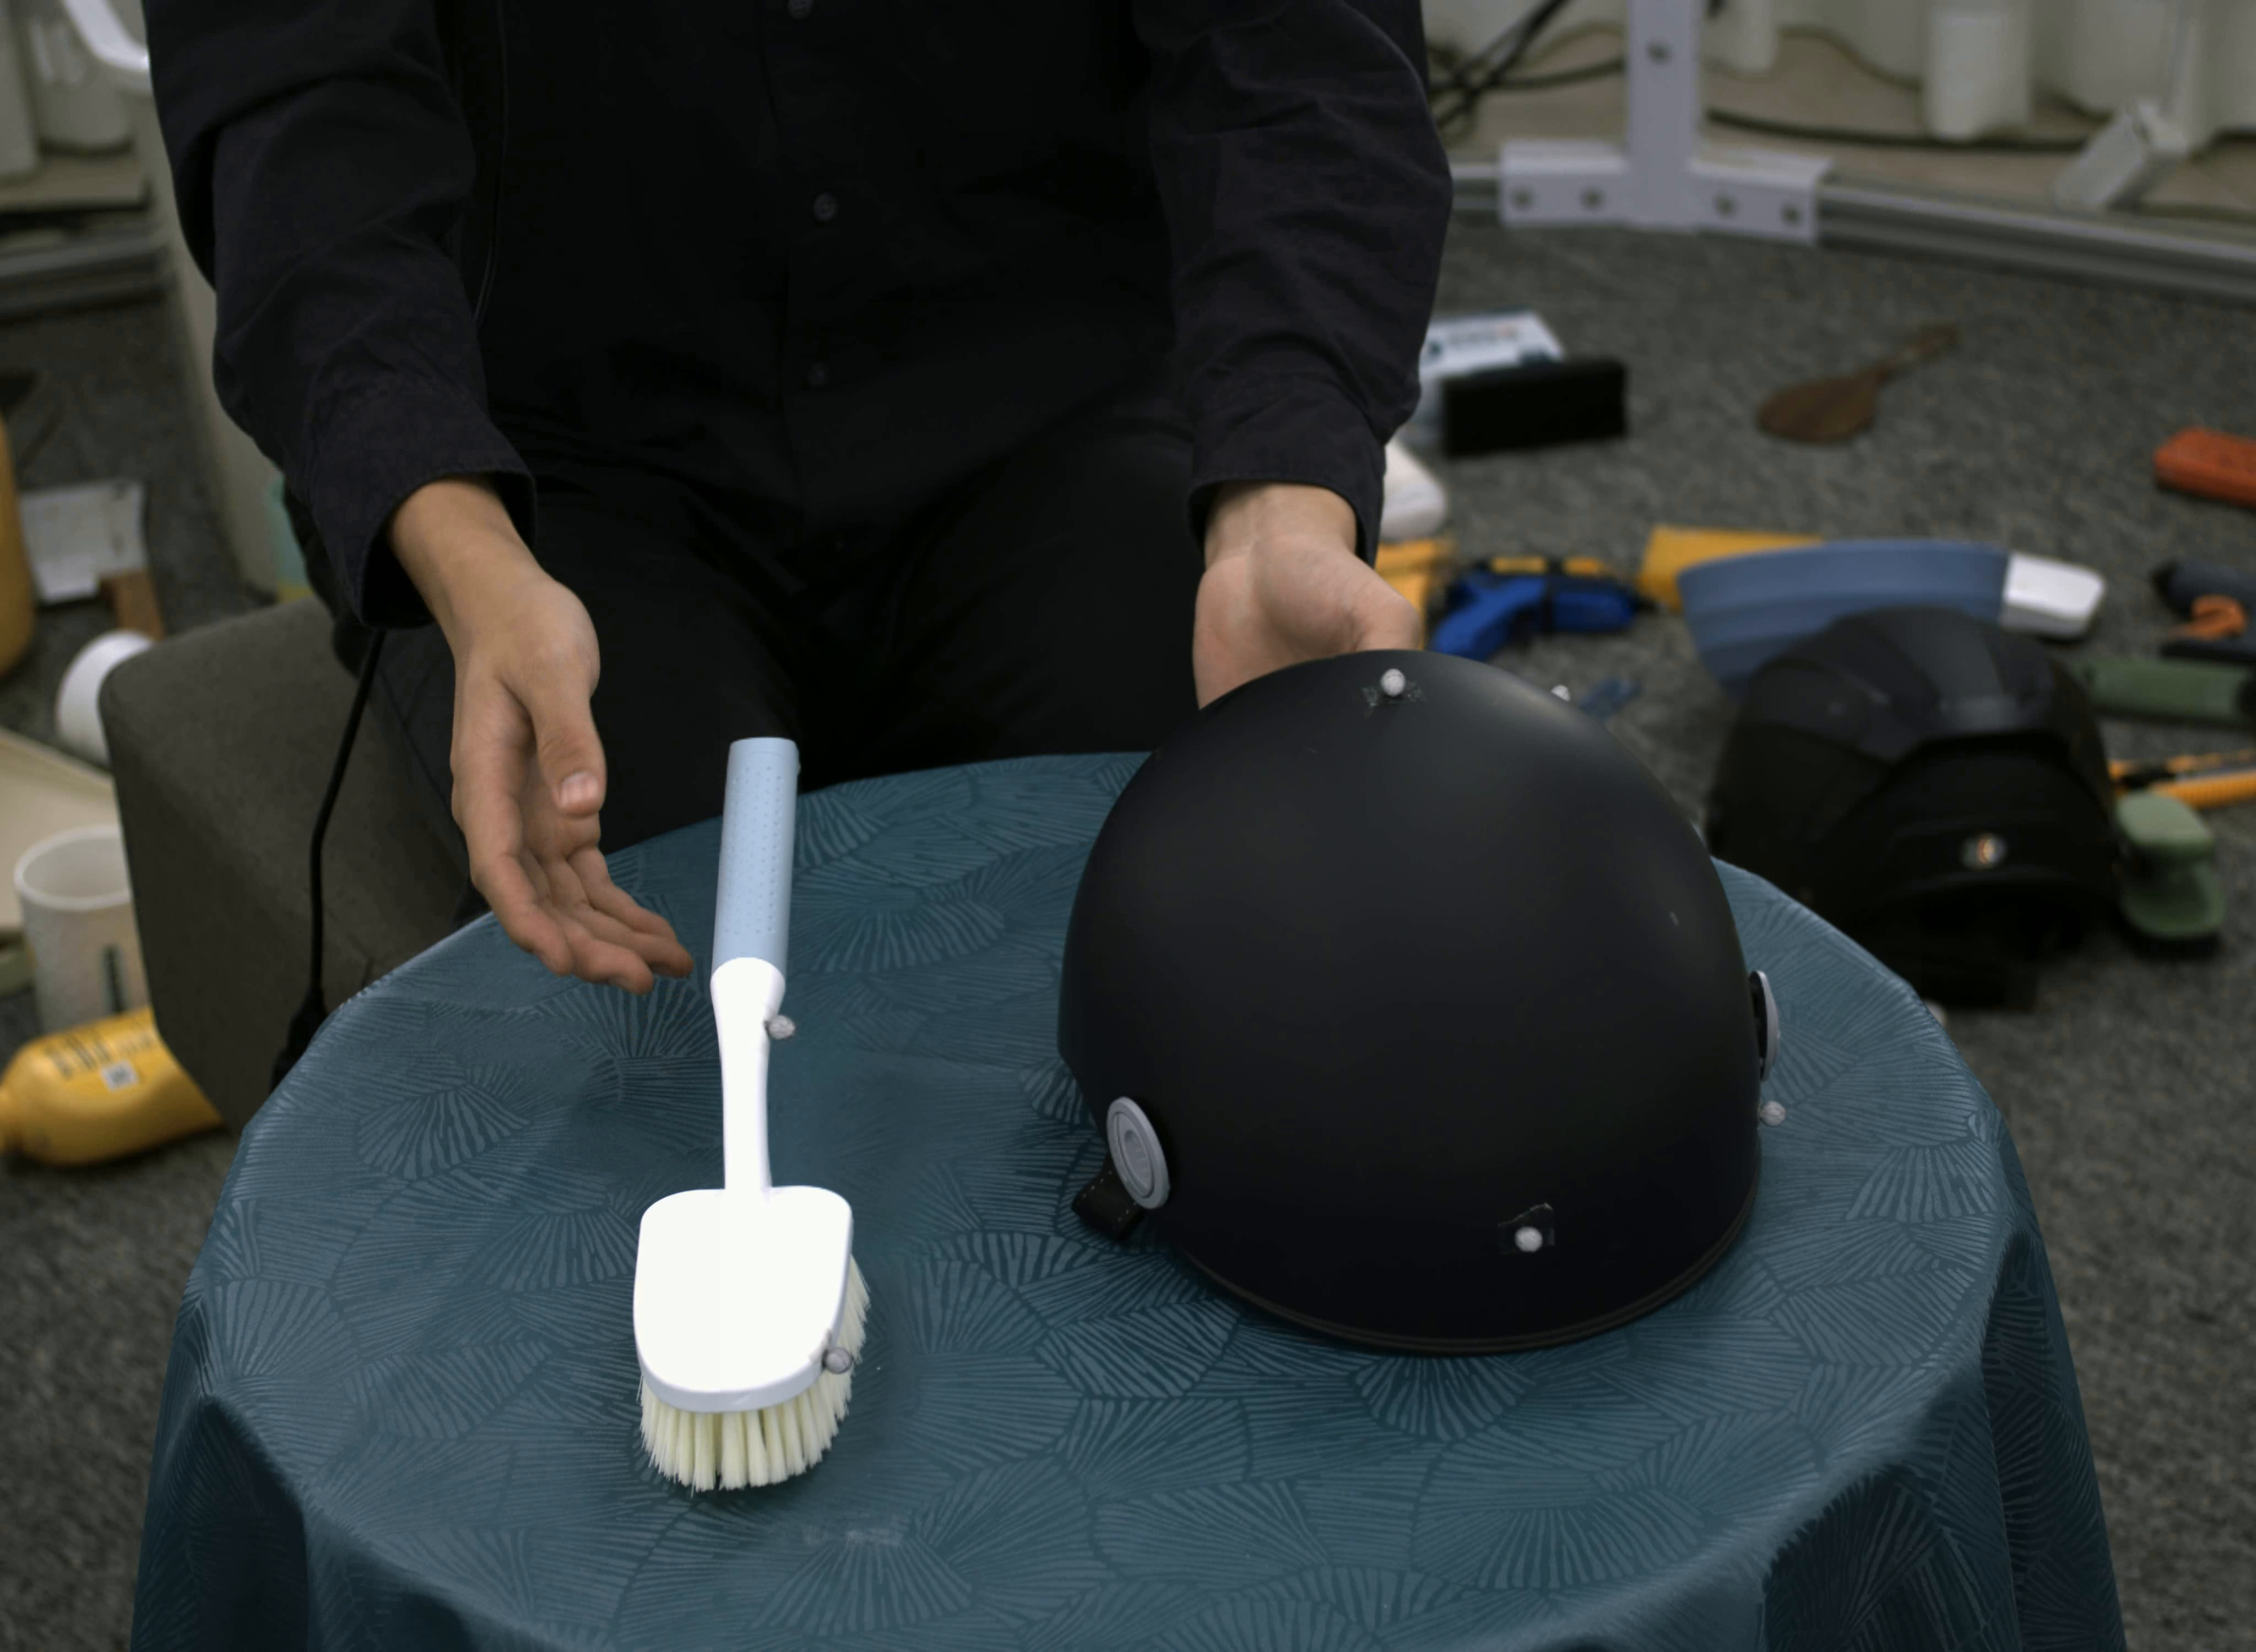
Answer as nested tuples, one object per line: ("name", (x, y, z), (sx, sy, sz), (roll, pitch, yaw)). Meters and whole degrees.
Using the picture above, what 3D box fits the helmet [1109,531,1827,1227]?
("helmet", (0.110, -0.001, 1.862), (0.230, 0.165, 0.276), (-10, 31, -12))

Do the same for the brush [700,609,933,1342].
("brush", (-0.096, 0.057, 1.851), (0.083, 0.083, 0.332), (27, 34, -21))
